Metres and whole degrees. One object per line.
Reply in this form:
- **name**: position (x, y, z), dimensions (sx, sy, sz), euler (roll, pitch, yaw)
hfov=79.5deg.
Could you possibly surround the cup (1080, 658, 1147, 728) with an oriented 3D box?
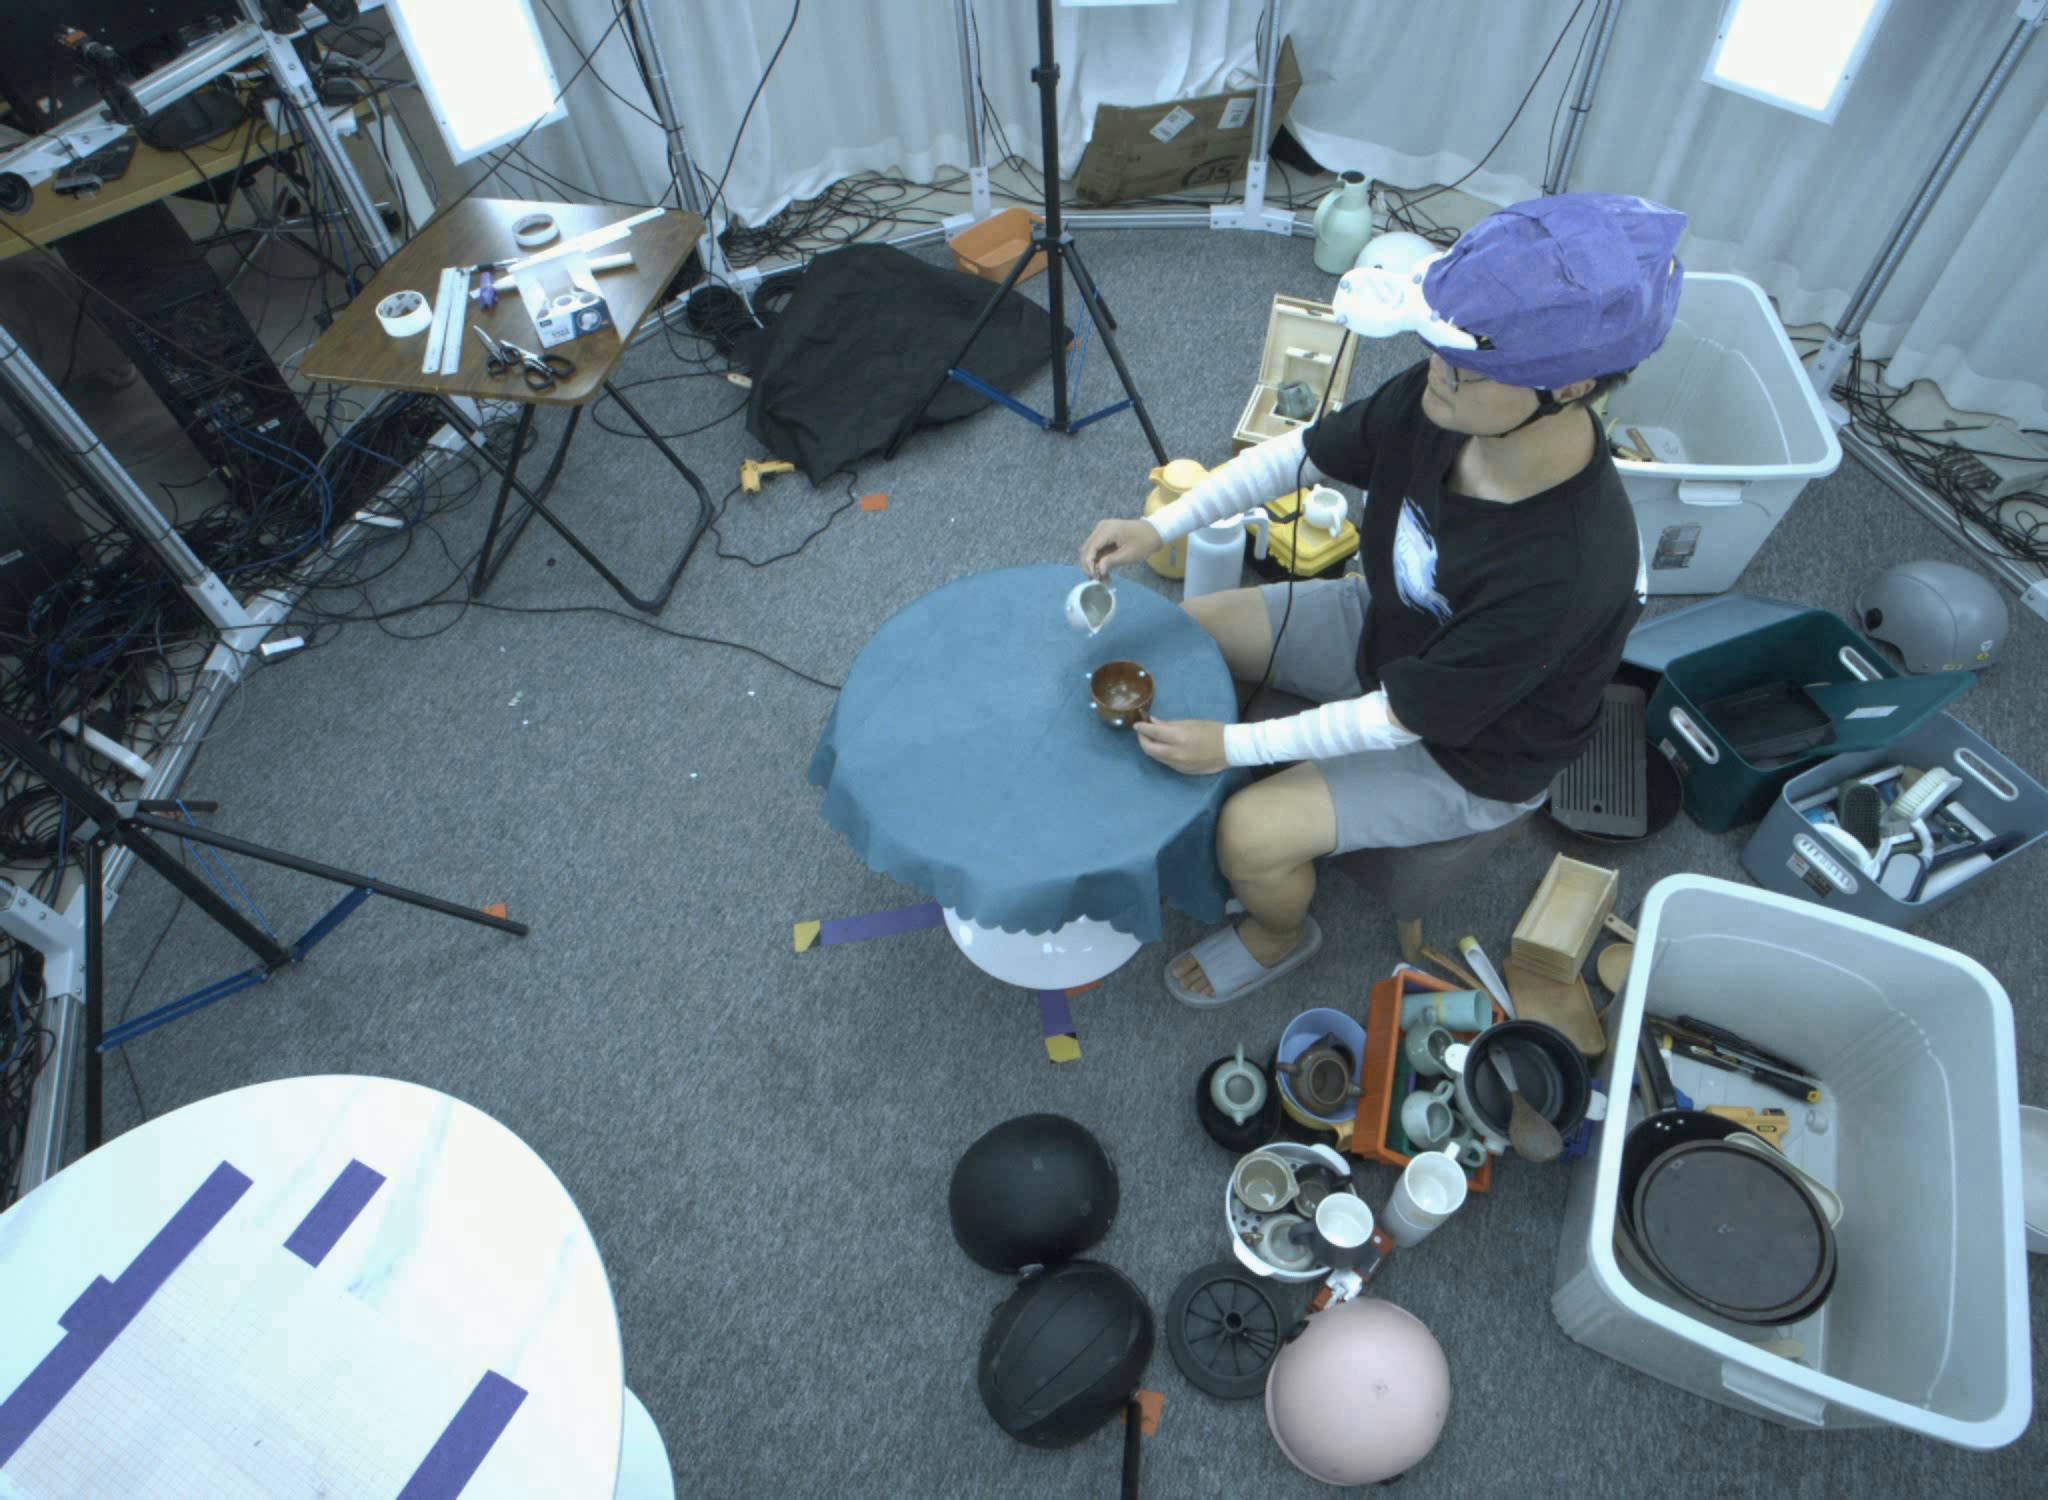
- **cup**: position (0.134, -0.070, 1.784), dimensions (0.097, 0.068, 0.117), euler (-27, 59, -20)

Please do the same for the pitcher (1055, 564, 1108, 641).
- **pitcher**: position (0.083, -0.210, 1.798), dimensions (0.077, 0.087, 0.119), euler (11, 83, -13)
